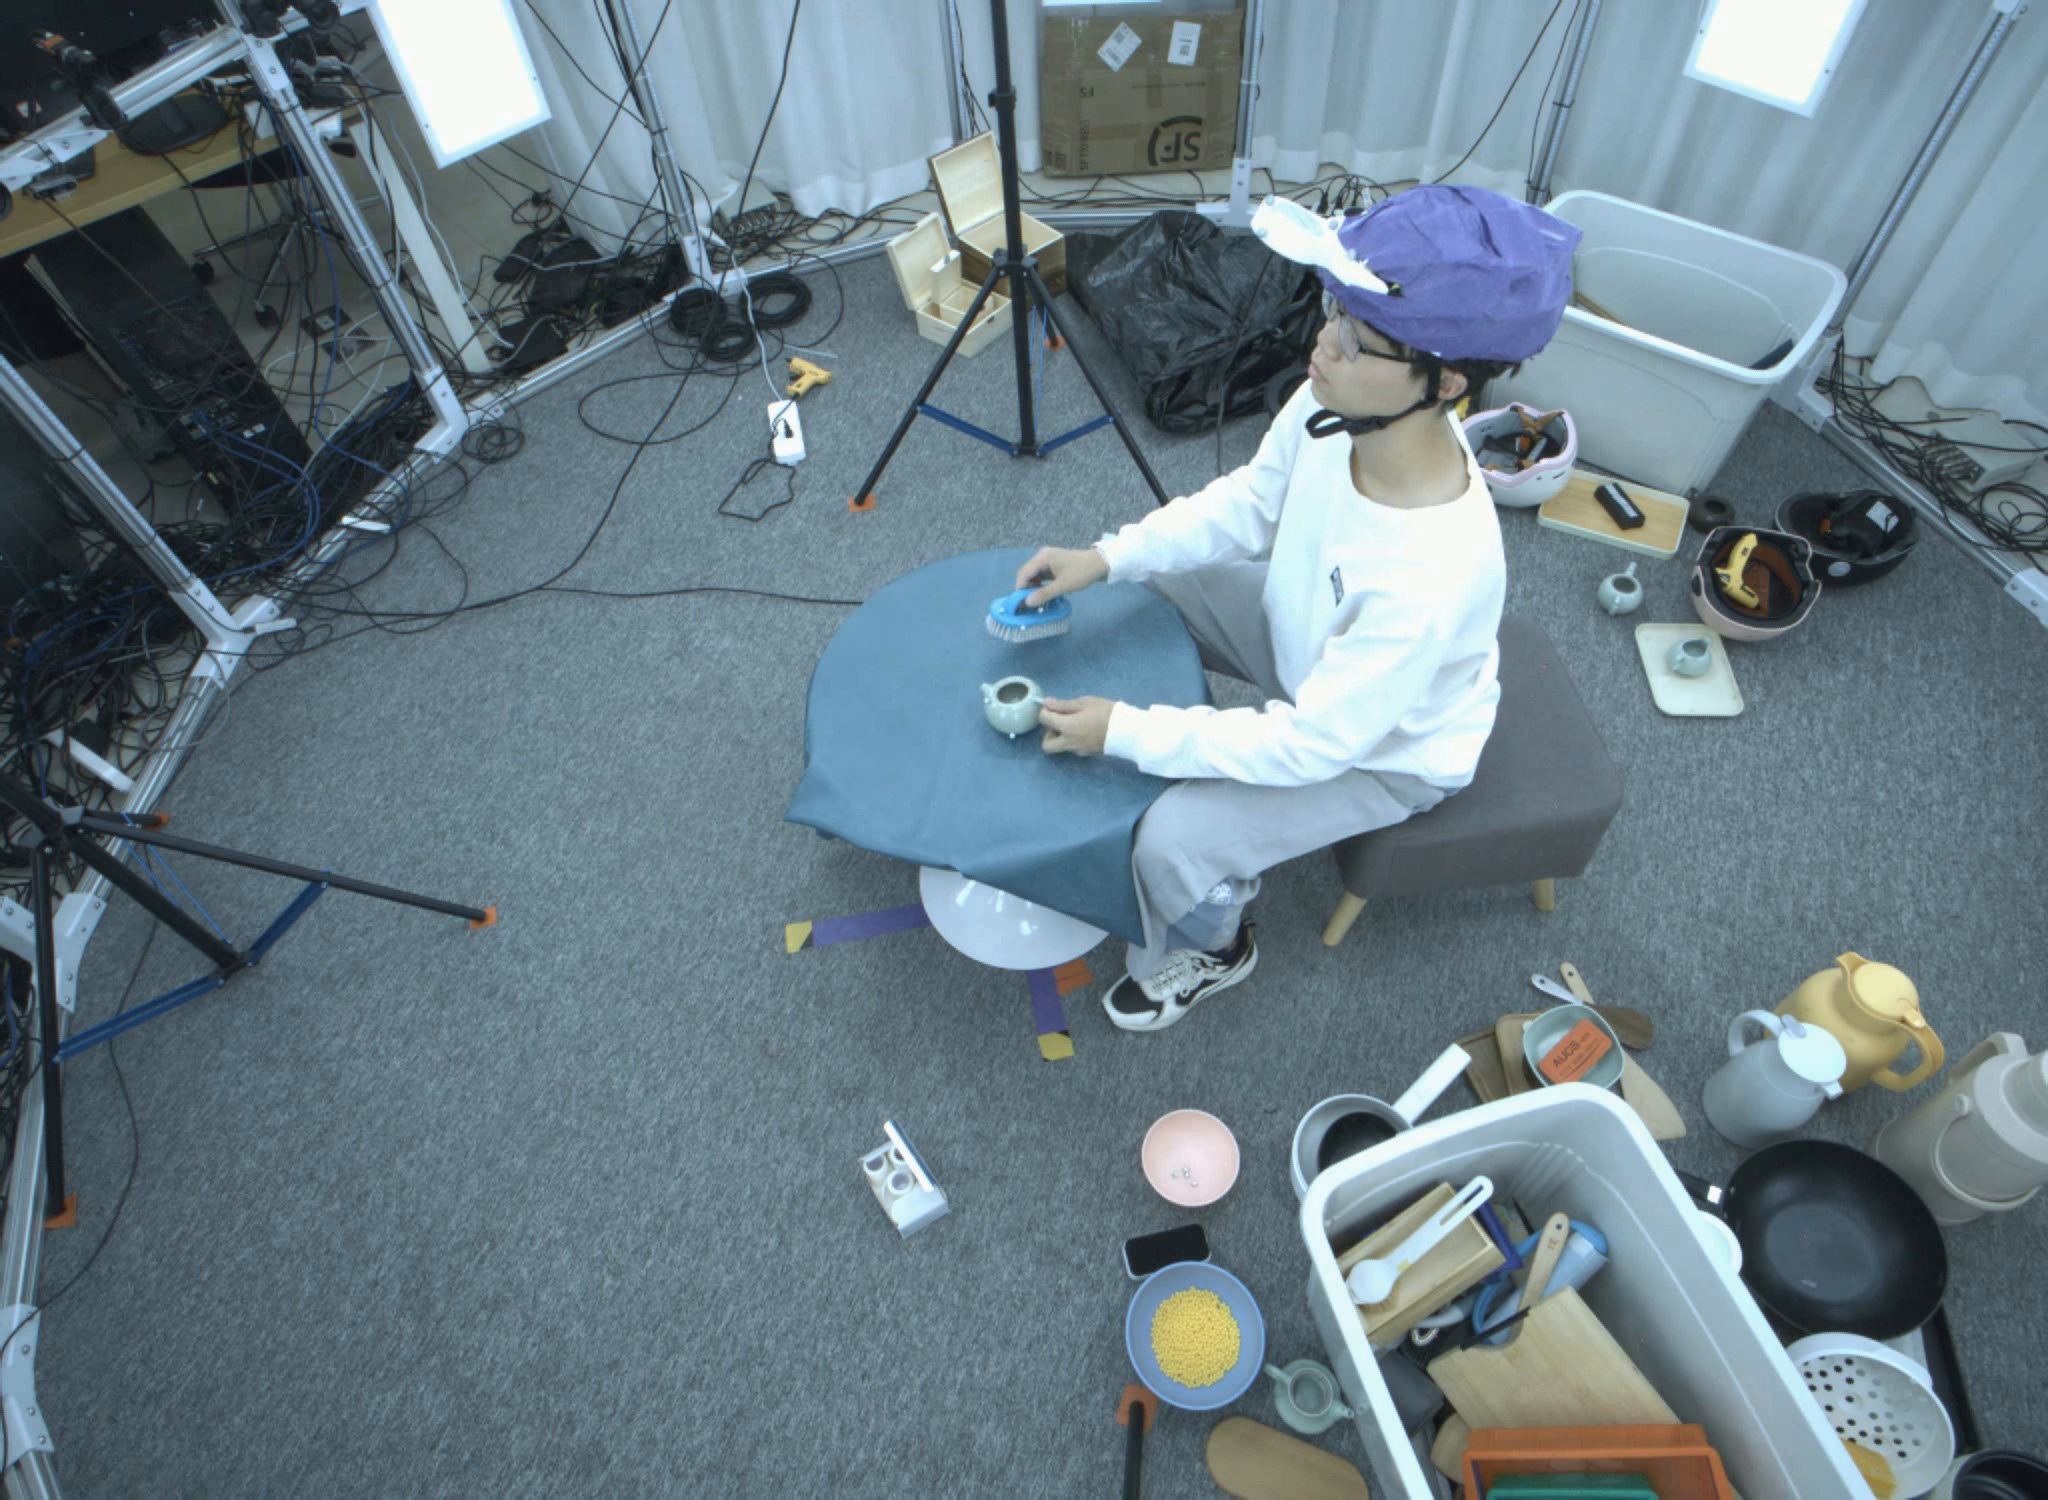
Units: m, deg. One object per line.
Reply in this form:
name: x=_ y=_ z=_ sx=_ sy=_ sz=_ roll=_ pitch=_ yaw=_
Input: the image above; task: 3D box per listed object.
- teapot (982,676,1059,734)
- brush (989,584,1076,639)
teapot: x=-0.004 y=-0.062 z=1.785 sx=0.126 sy=0.062 sz=0.092 roll=21 pitch=52 yaw=28
brush: x=0.013 y=-0.216 z=1.845 sx=0.144 sy=0.064 sz=0.082 roll=-13 pitch=42 yaw=-33
